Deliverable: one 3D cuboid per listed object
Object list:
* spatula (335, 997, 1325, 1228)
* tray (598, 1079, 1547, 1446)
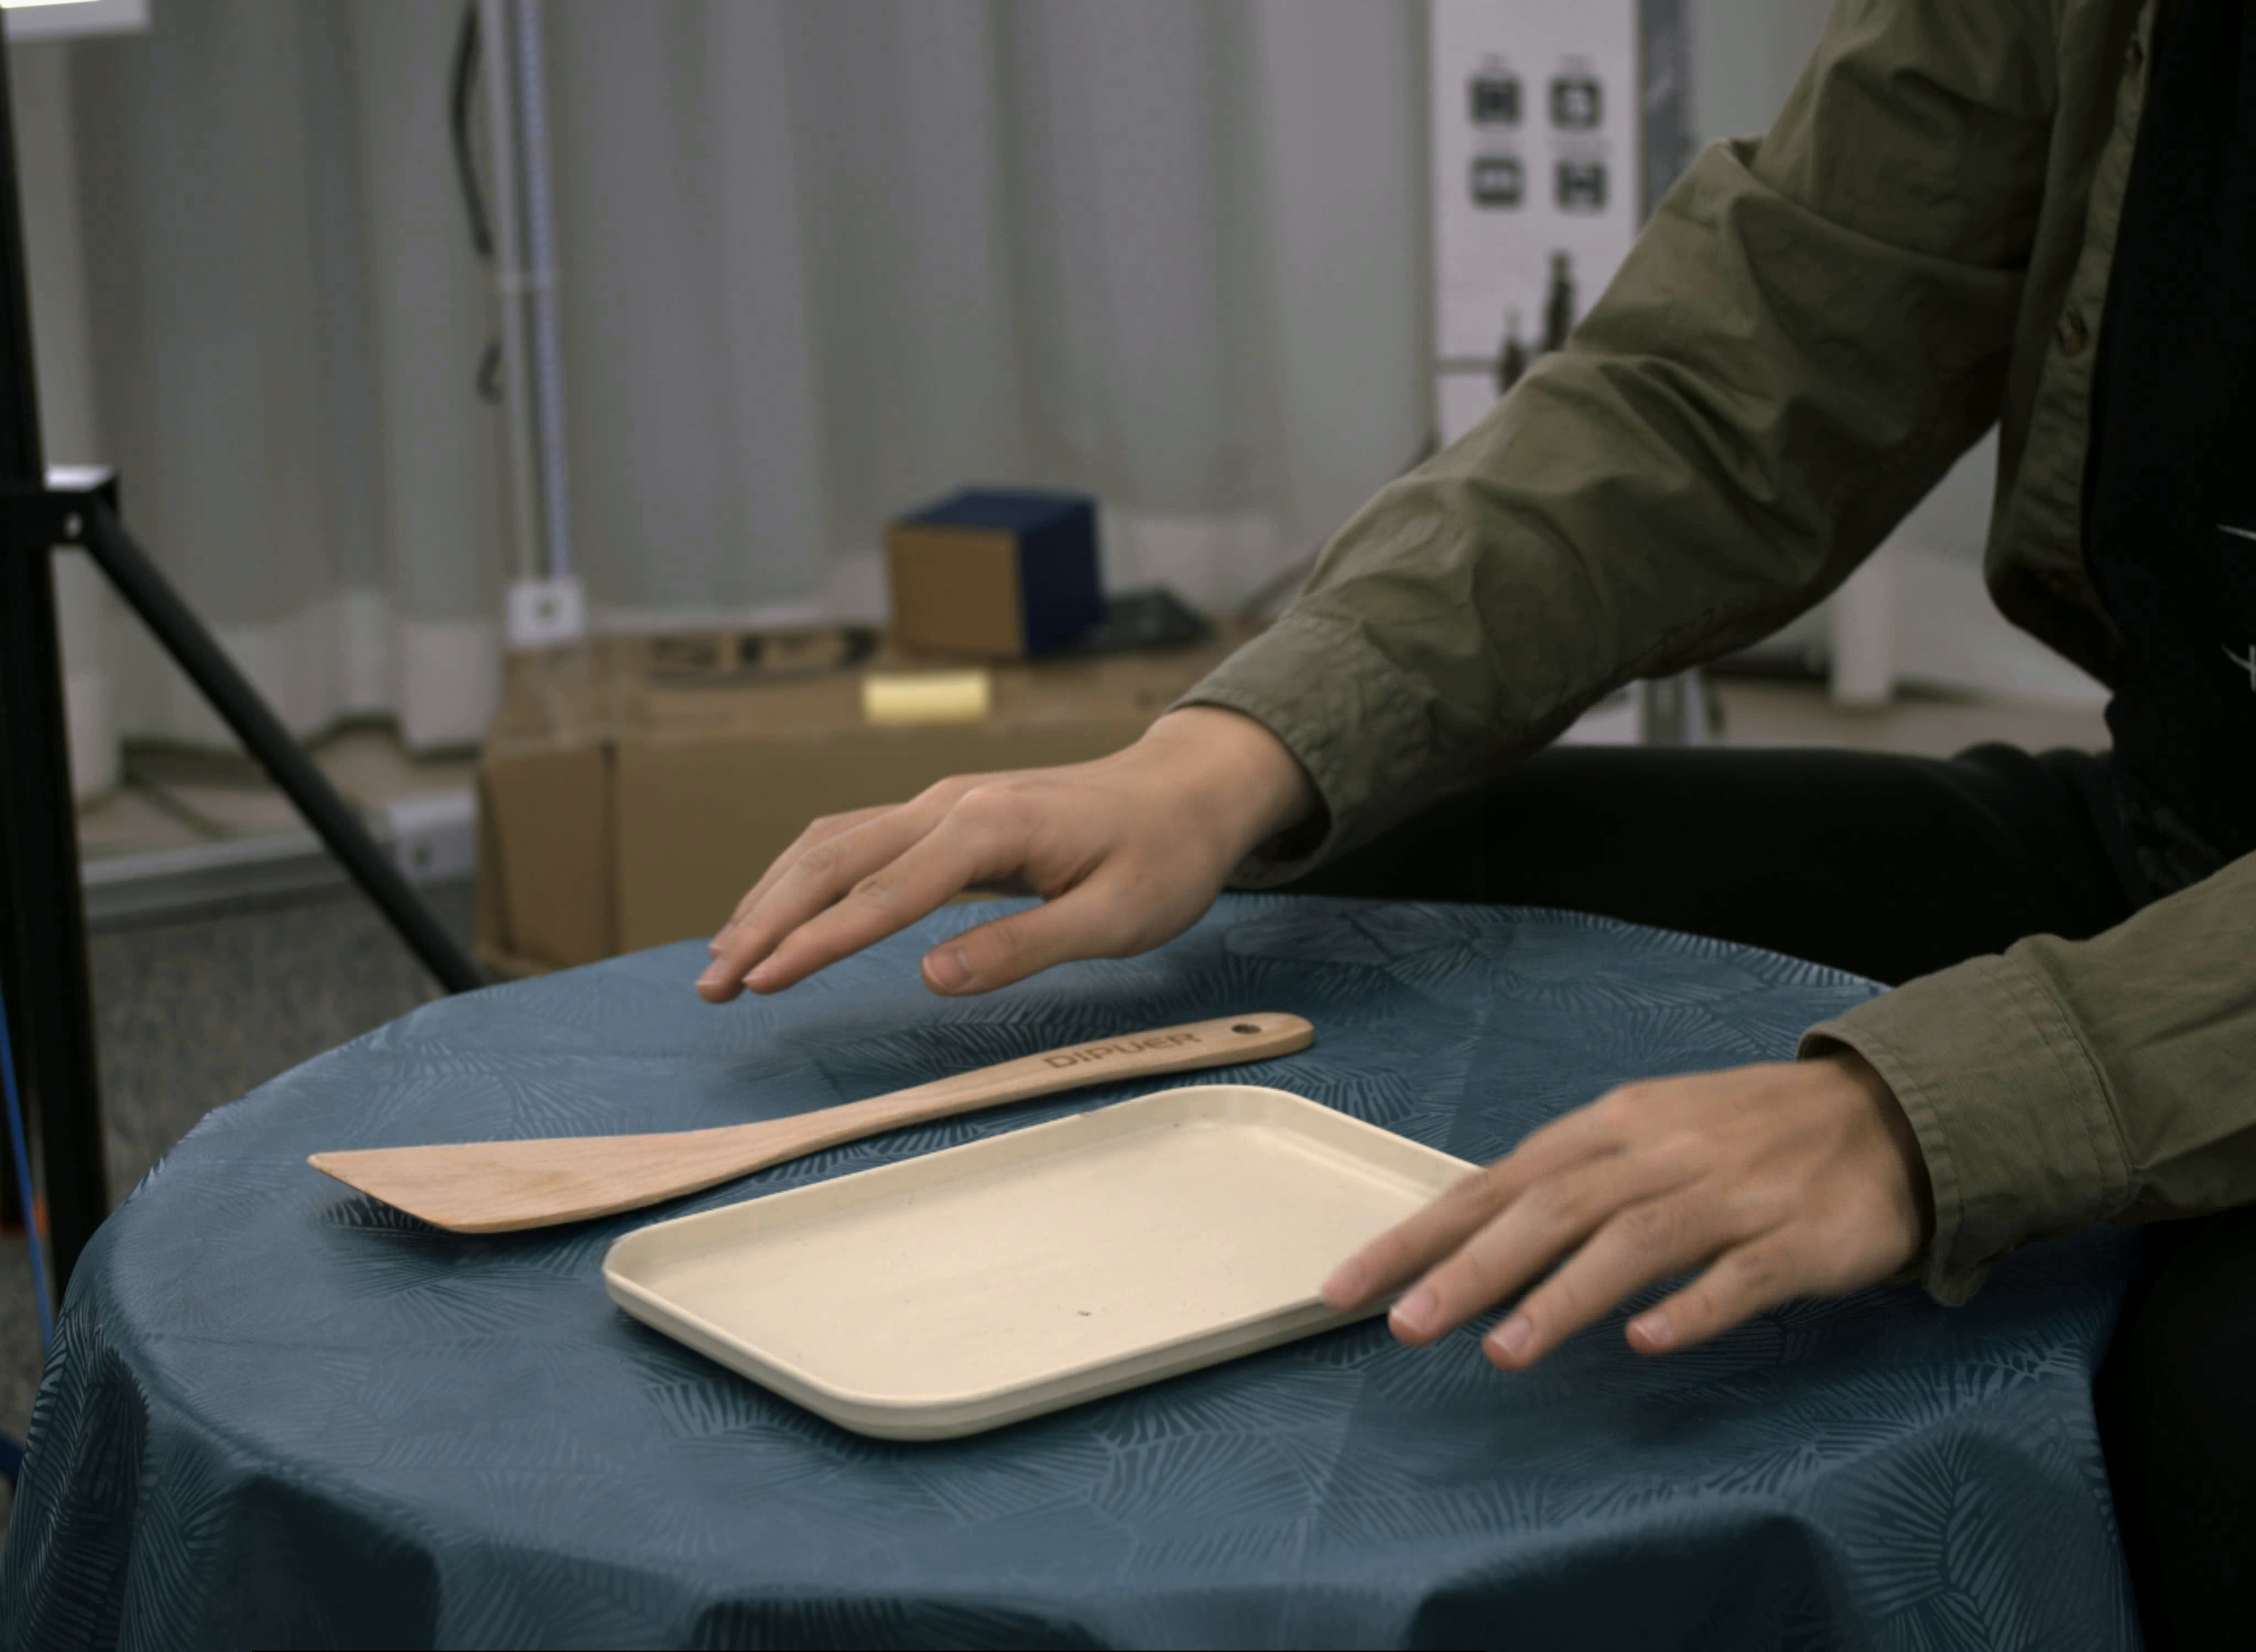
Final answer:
[{"bbox_3d":[-0.078,0.084,1.627,0.320,0.016,0.081,-11,19,-27],"label":"spatula"},{"bbox_3d":[-0.014,0.121,1.488,0.234,0.017,0.175,-13,20,-32],"label":"tray"}]
